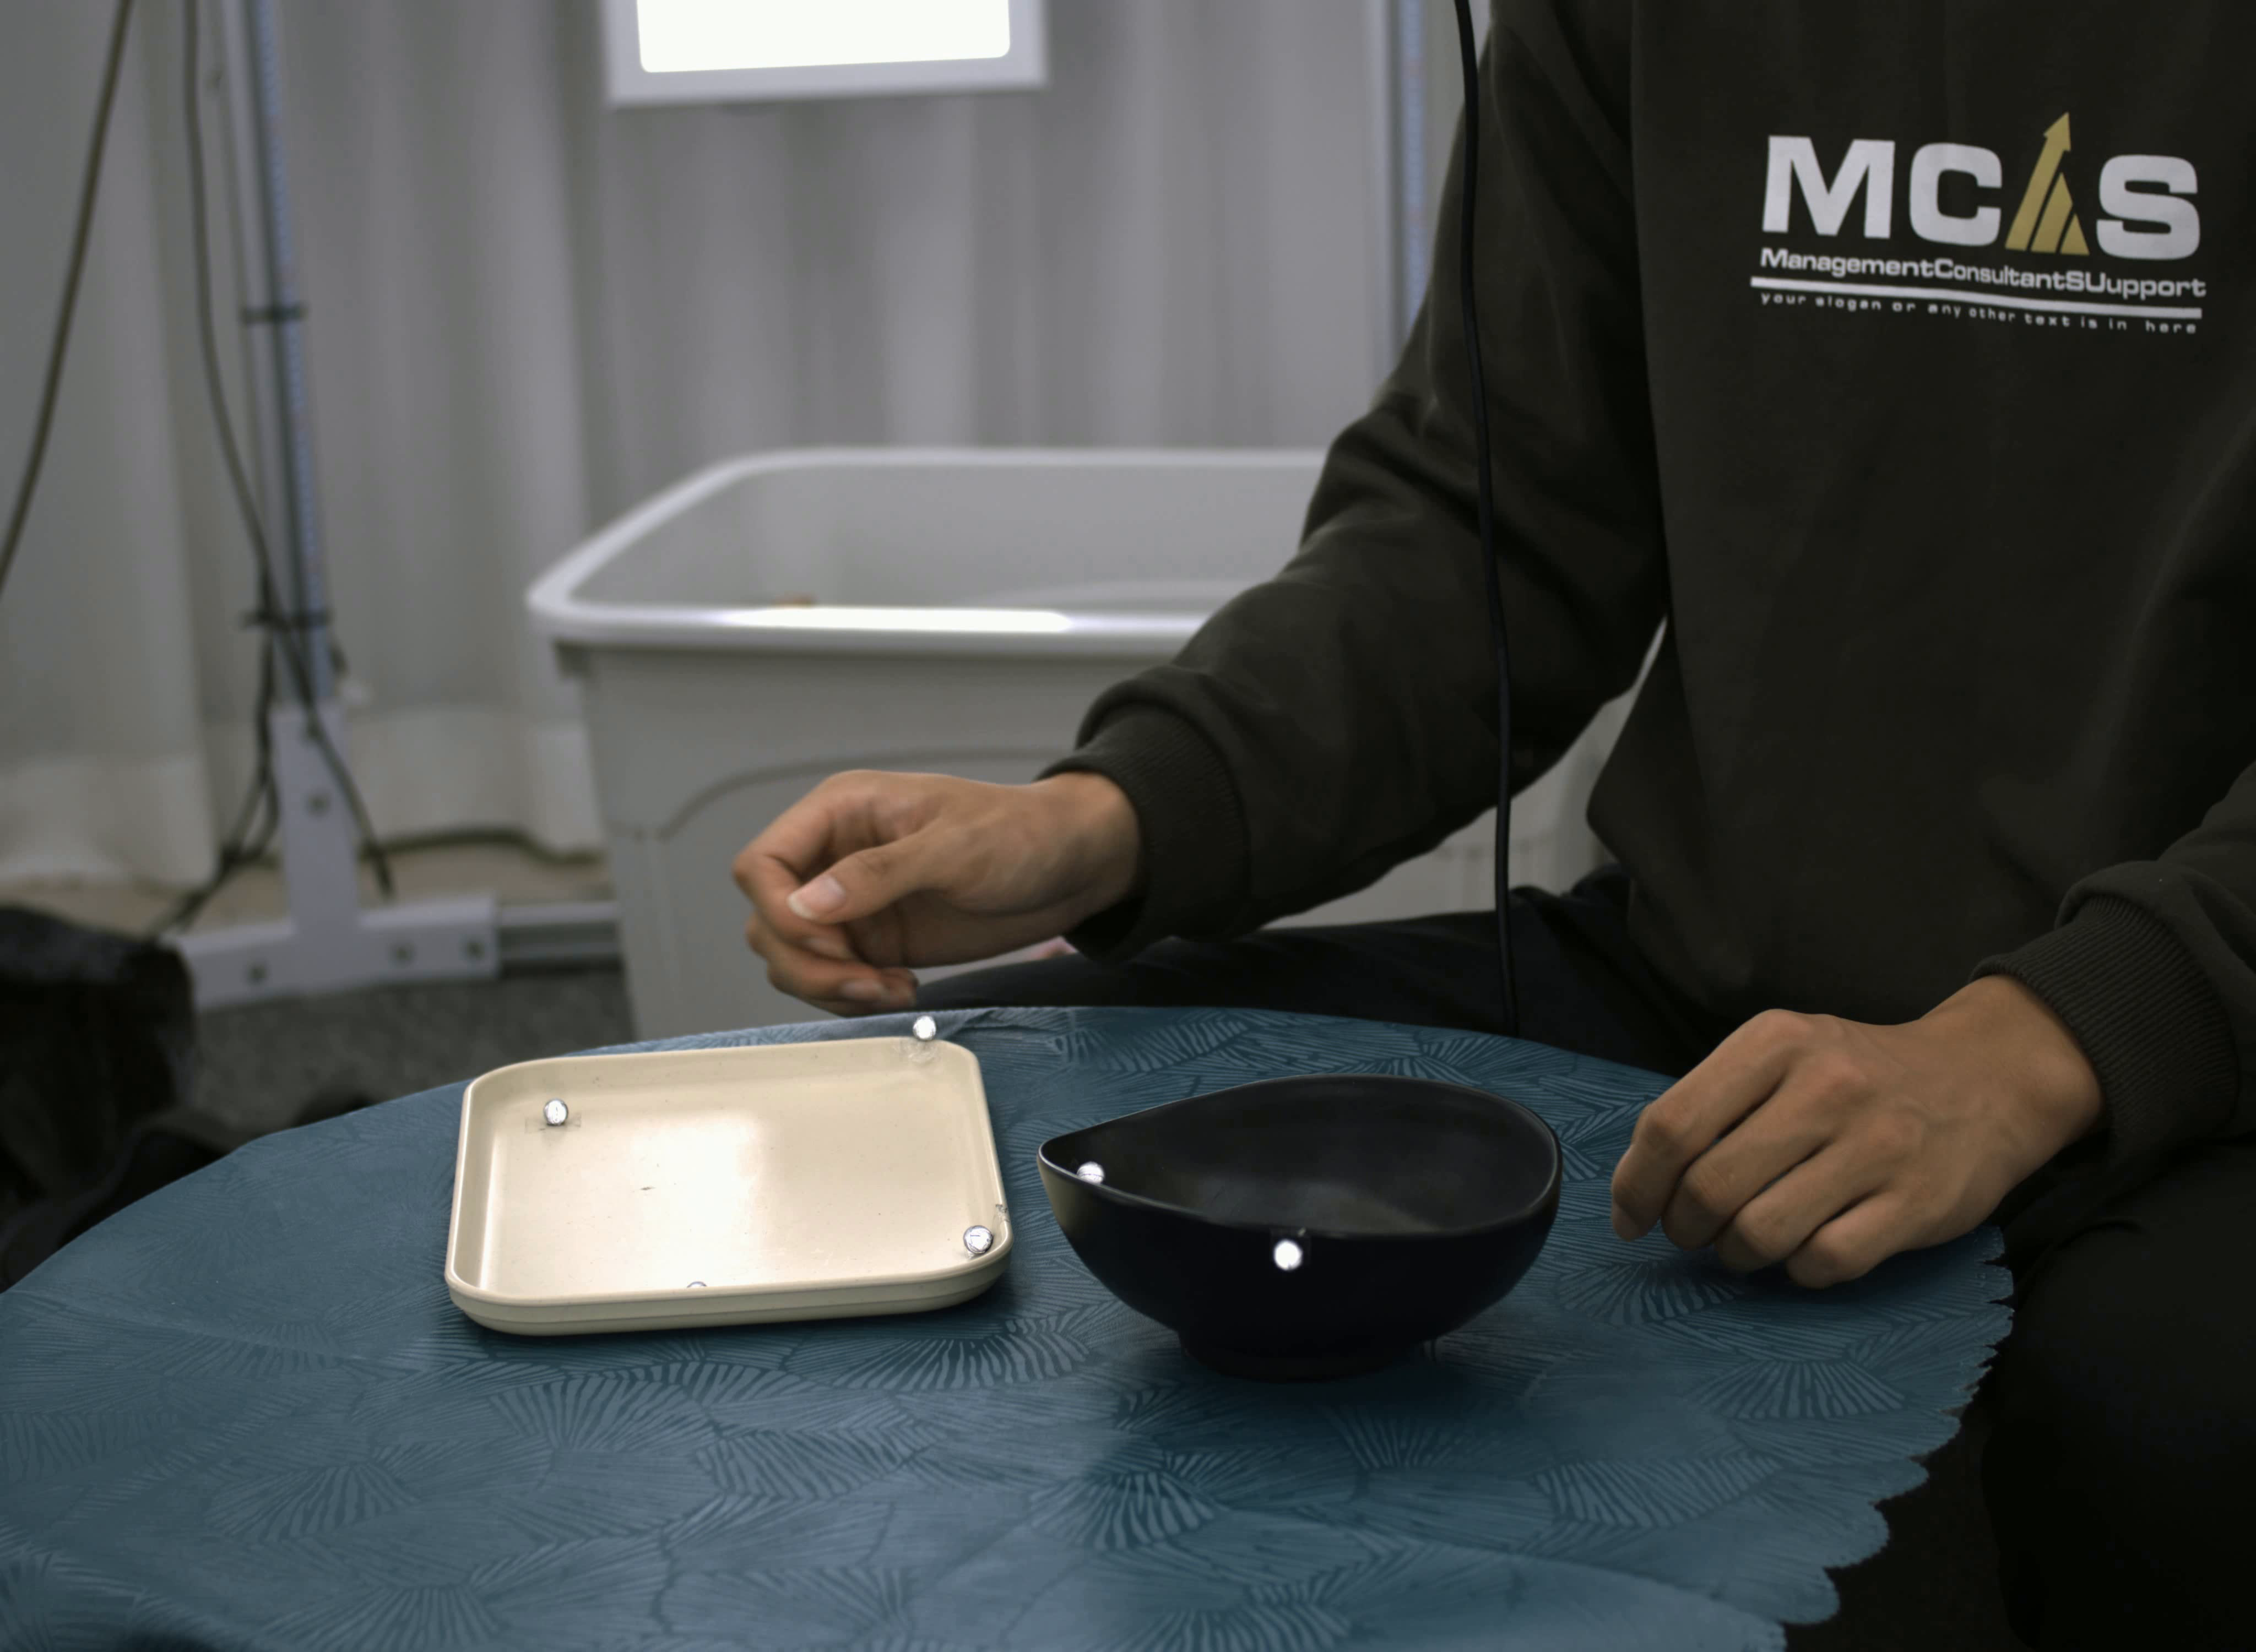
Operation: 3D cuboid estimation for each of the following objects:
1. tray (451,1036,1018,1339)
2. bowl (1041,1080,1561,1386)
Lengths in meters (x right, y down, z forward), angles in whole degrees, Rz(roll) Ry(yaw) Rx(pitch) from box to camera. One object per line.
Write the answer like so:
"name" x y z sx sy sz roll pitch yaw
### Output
"tray" -0.125 0.112 1.715 0.170 0.017 0.241 -4 15 -4
"bowl" 0.048 0.120 1.570 0.137 0.066 0.171 -13 16 -39
